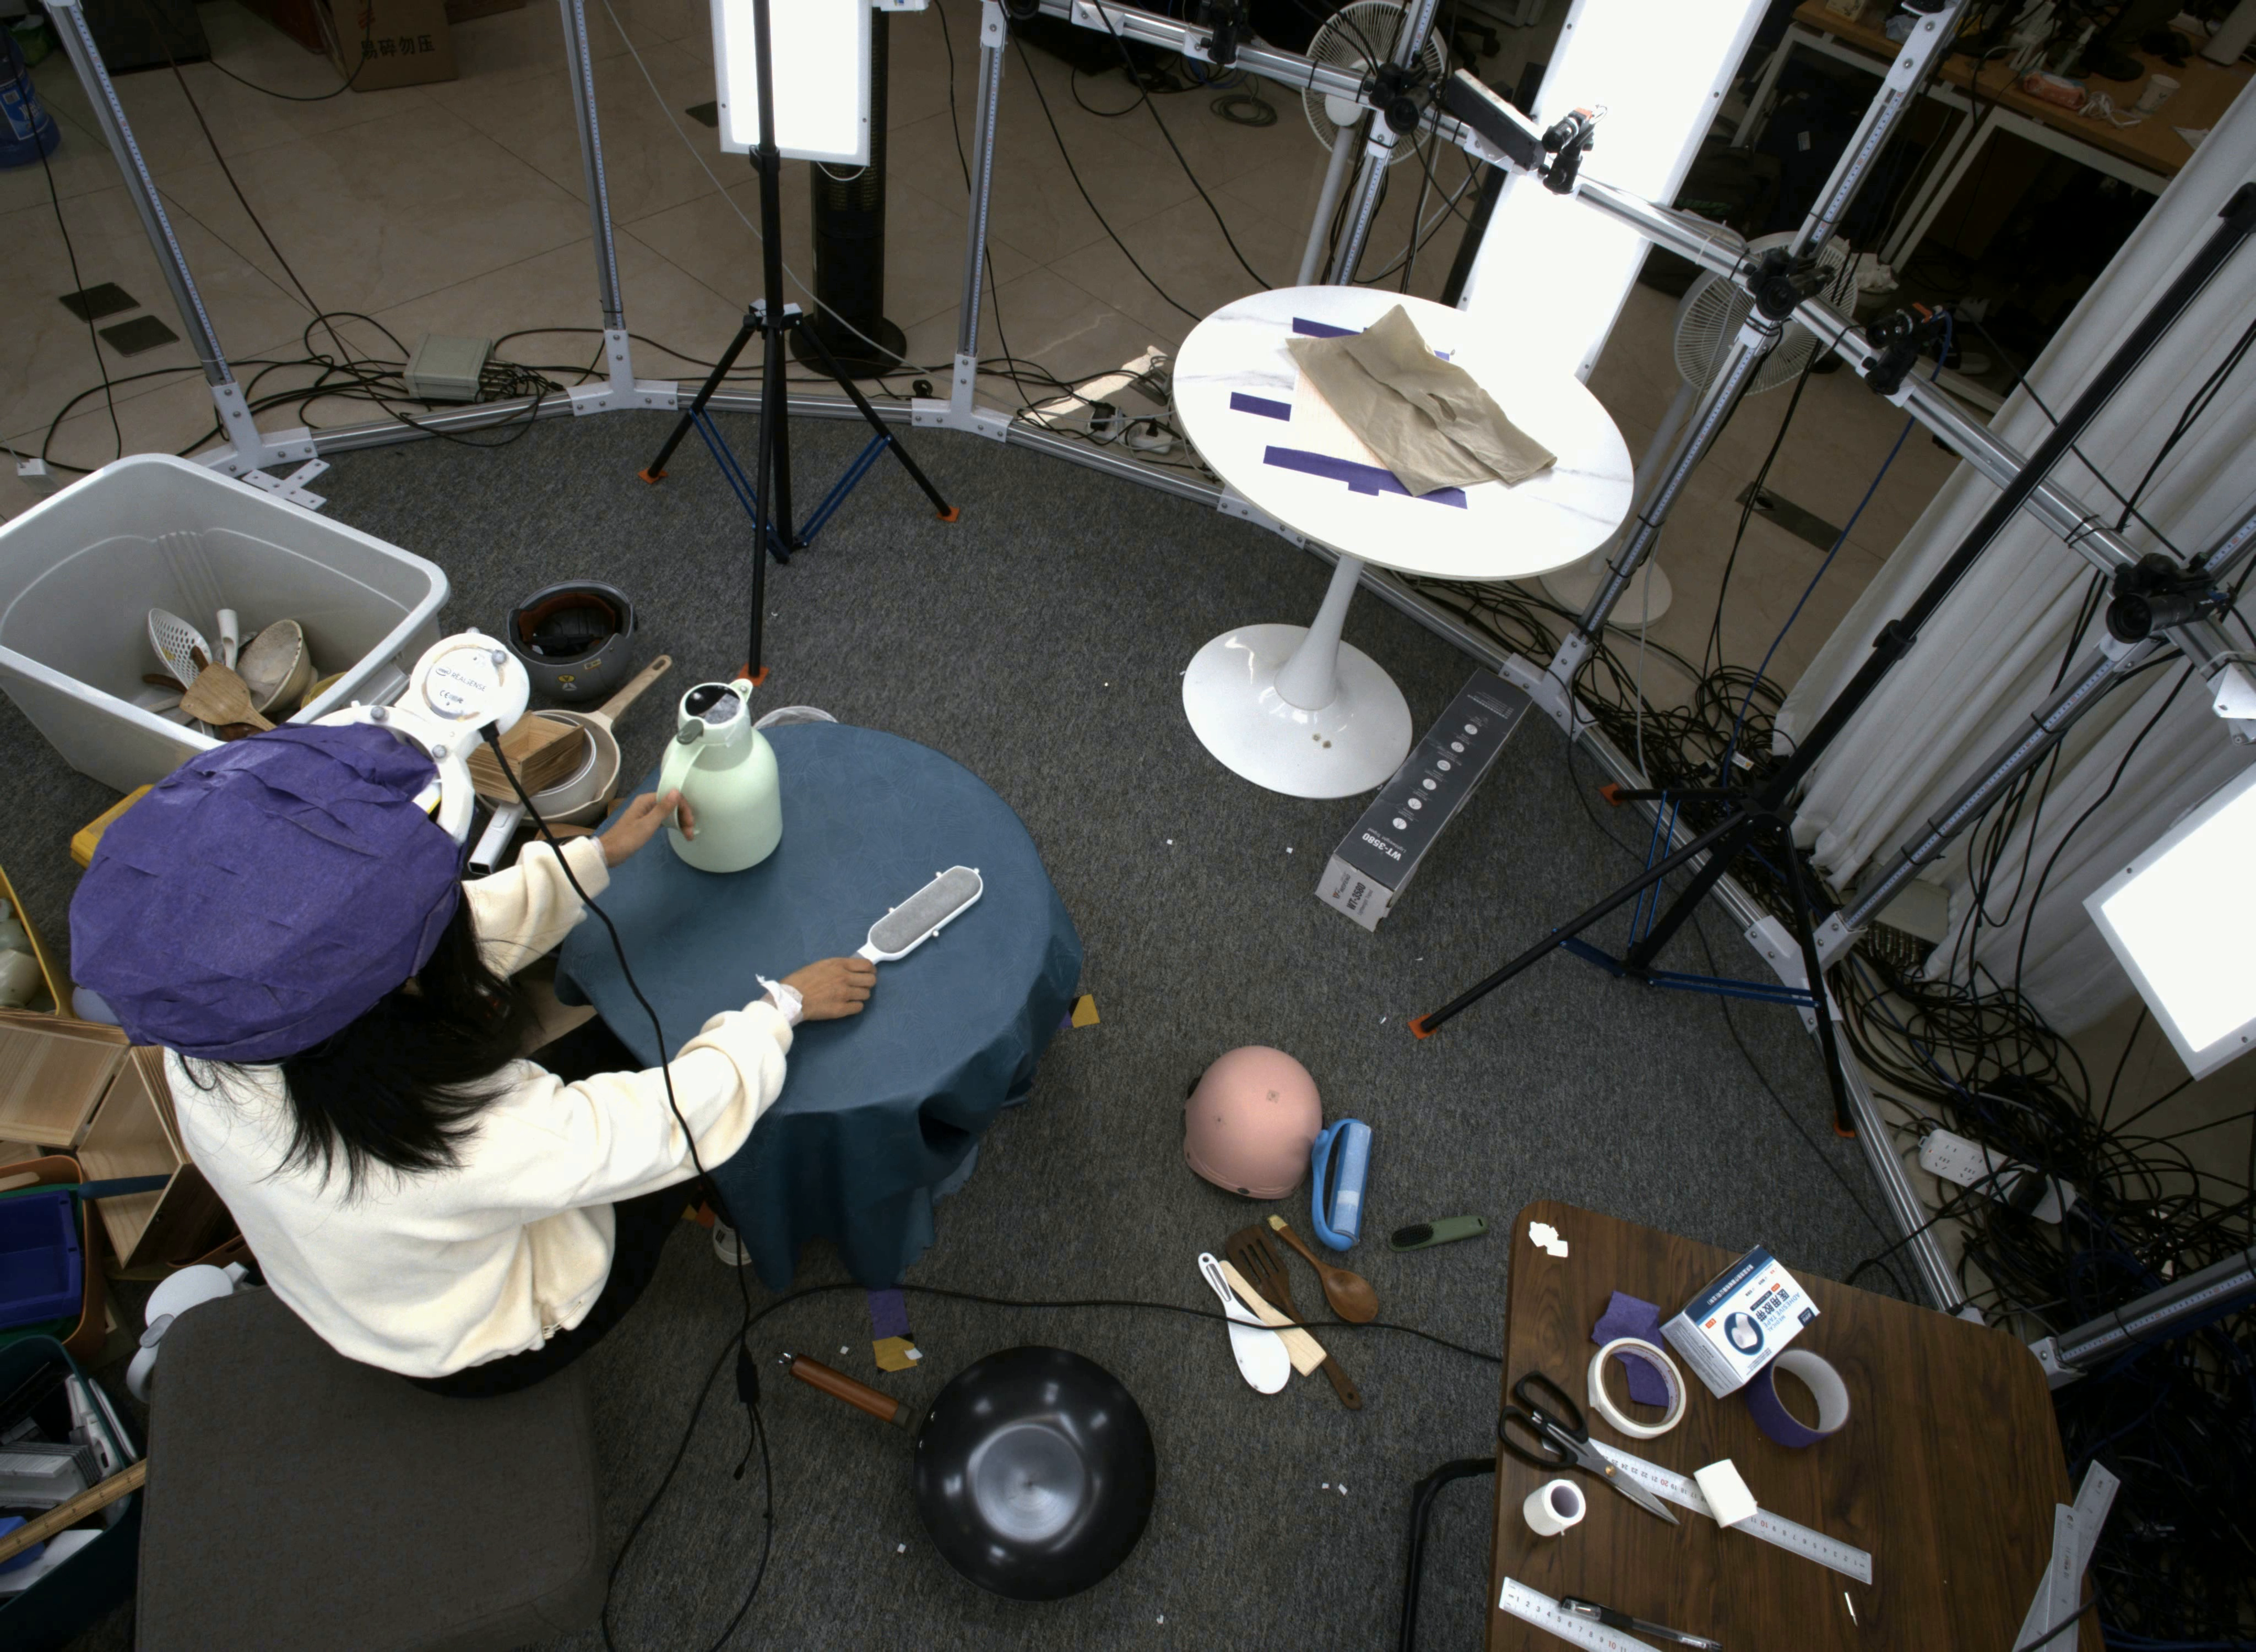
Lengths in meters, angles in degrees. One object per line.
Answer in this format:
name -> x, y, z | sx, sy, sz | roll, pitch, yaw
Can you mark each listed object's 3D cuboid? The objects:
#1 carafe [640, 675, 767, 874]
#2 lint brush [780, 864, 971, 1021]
carafe -> -0.527, -0.056, 1.572 | 0.142, 0.262, 0.185 | 23, 55, 4
lint brush -> -0.313, 0.141, 1.627 | 0.059, 0.021, 0.309 | 40, 54, 14
